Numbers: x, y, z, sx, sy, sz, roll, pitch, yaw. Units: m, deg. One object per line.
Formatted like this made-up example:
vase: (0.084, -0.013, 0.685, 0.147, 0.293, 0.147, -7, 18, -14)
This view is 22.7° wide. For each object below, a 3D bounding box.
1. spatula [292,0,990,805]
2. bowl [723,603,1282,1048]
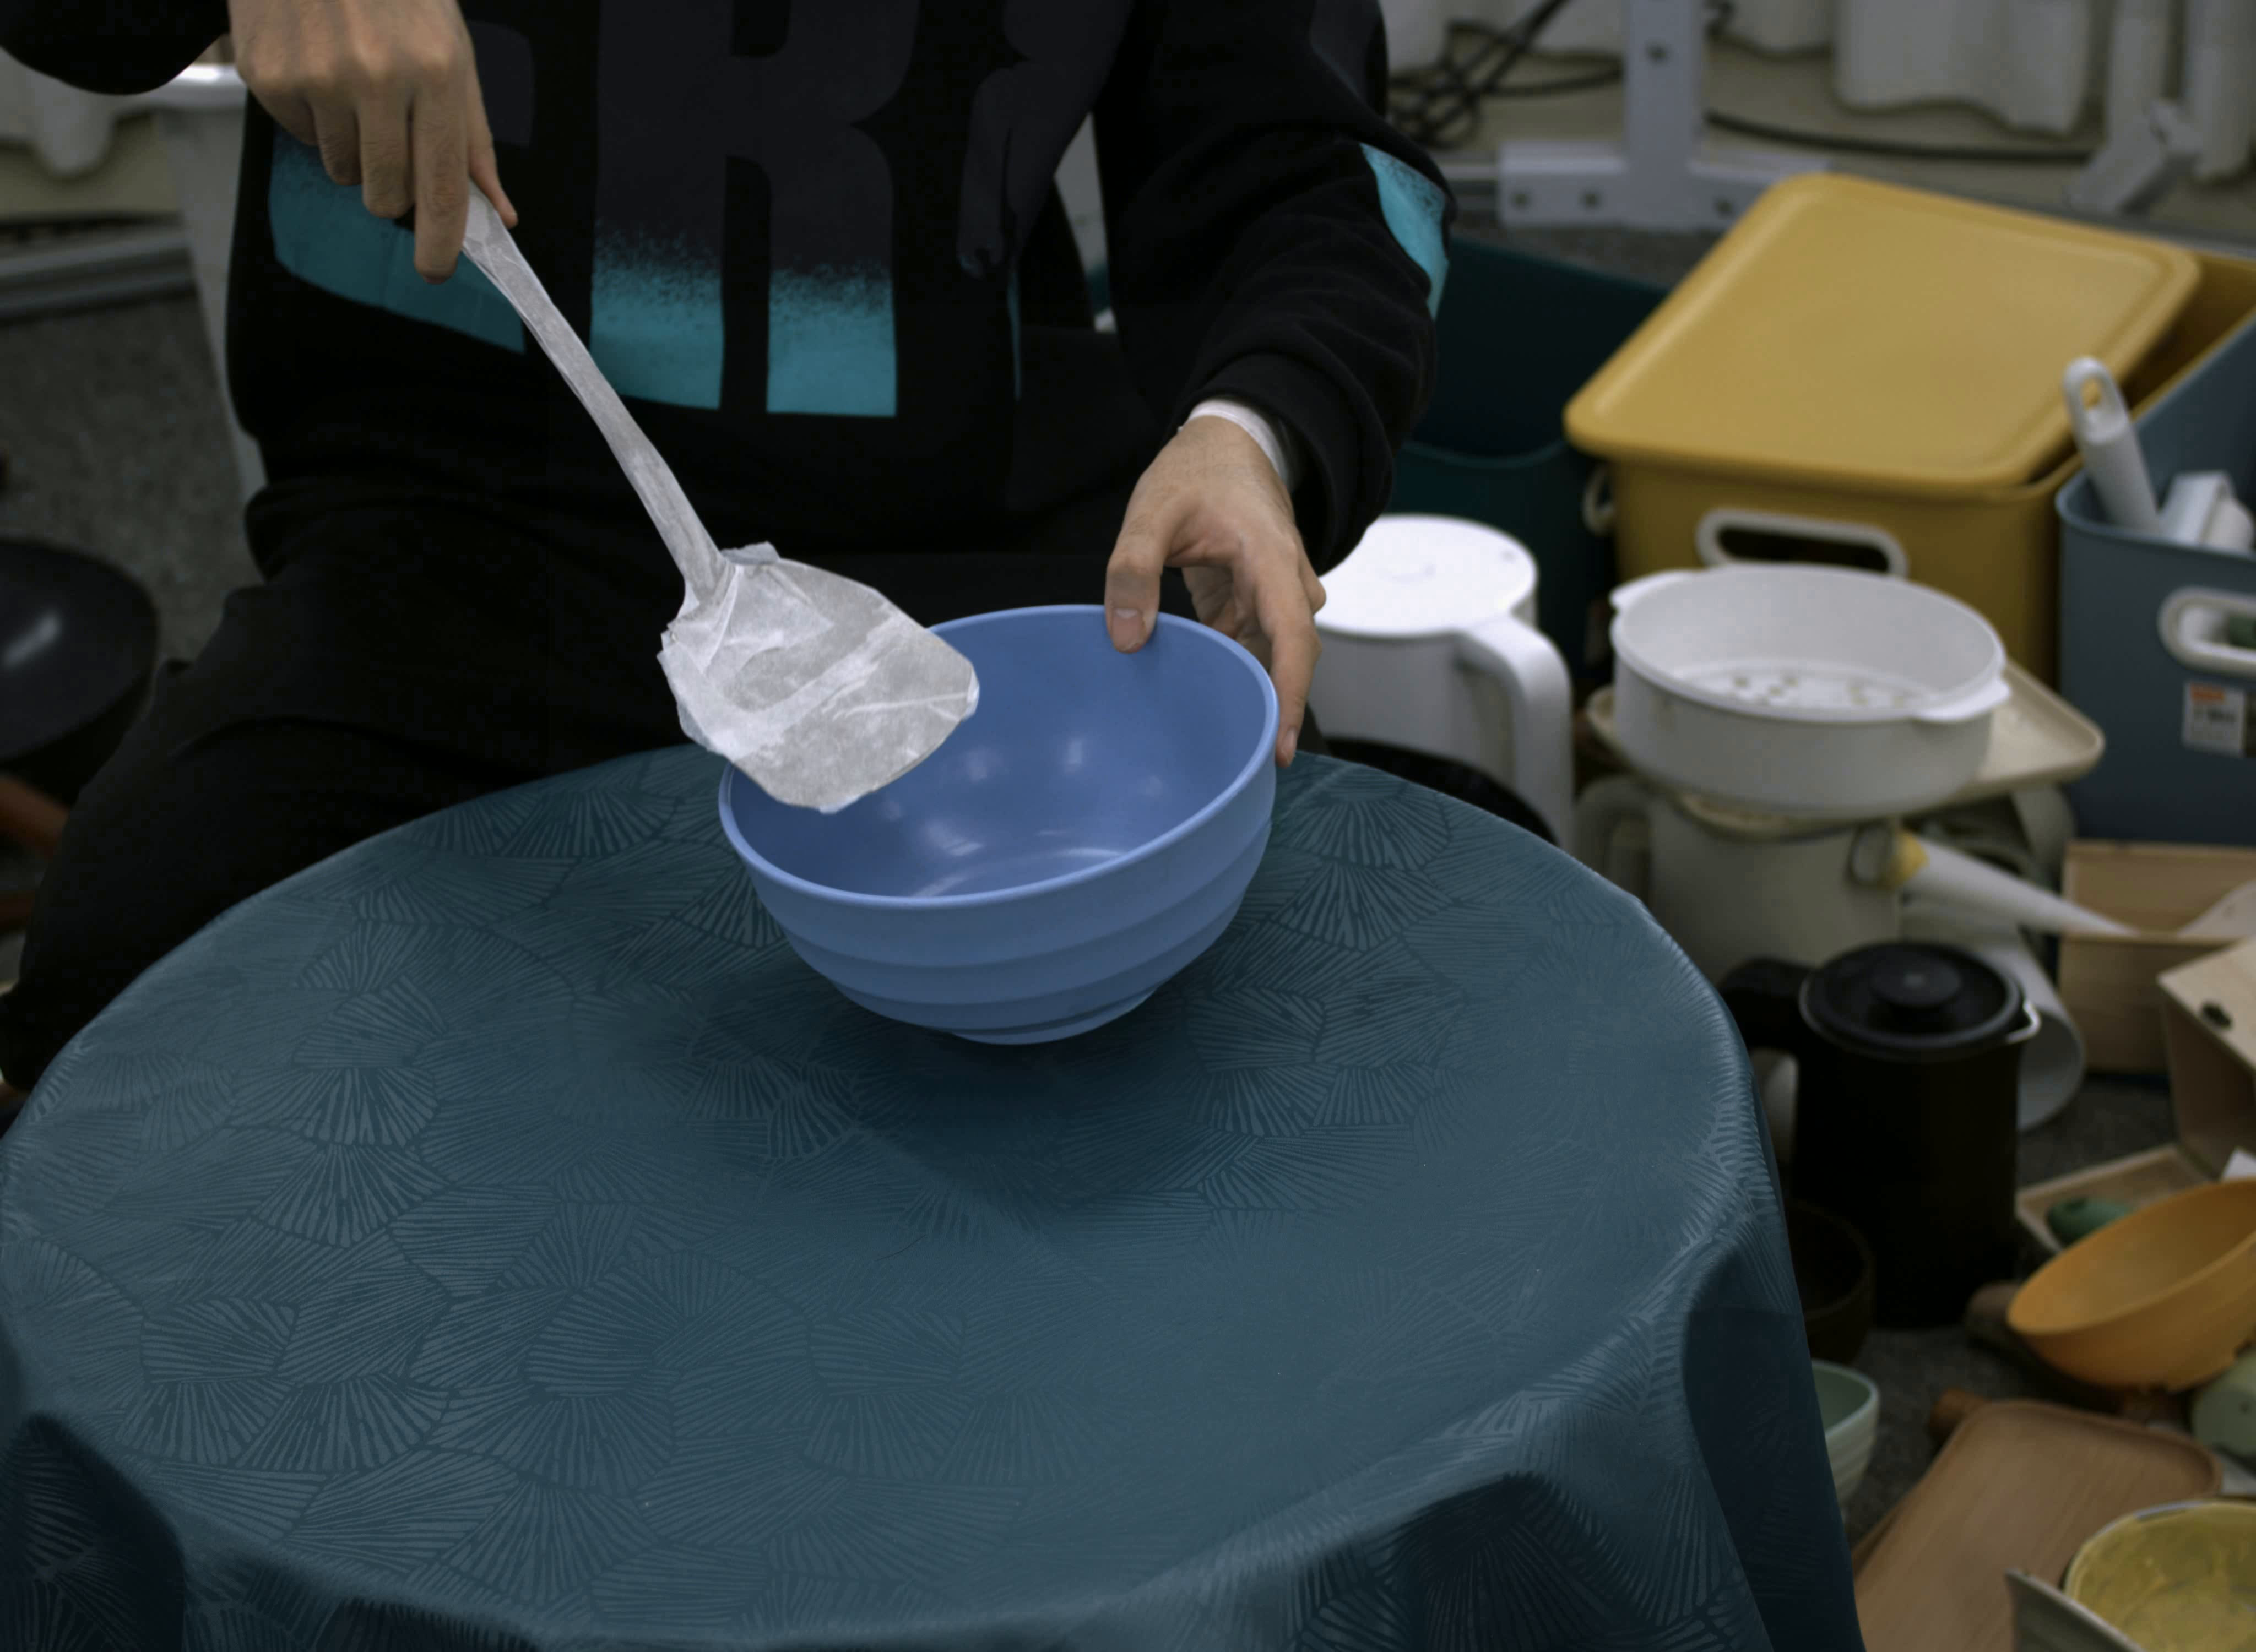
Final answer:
spatula: (-0.186, -0.161, 1.956, 0.100, 0.366, 0.044, -33, -4, -32)
bowl: (-0.036, 0.013, 1.951, 0.195, 0.094, 0.200, -8, 31, 5)
